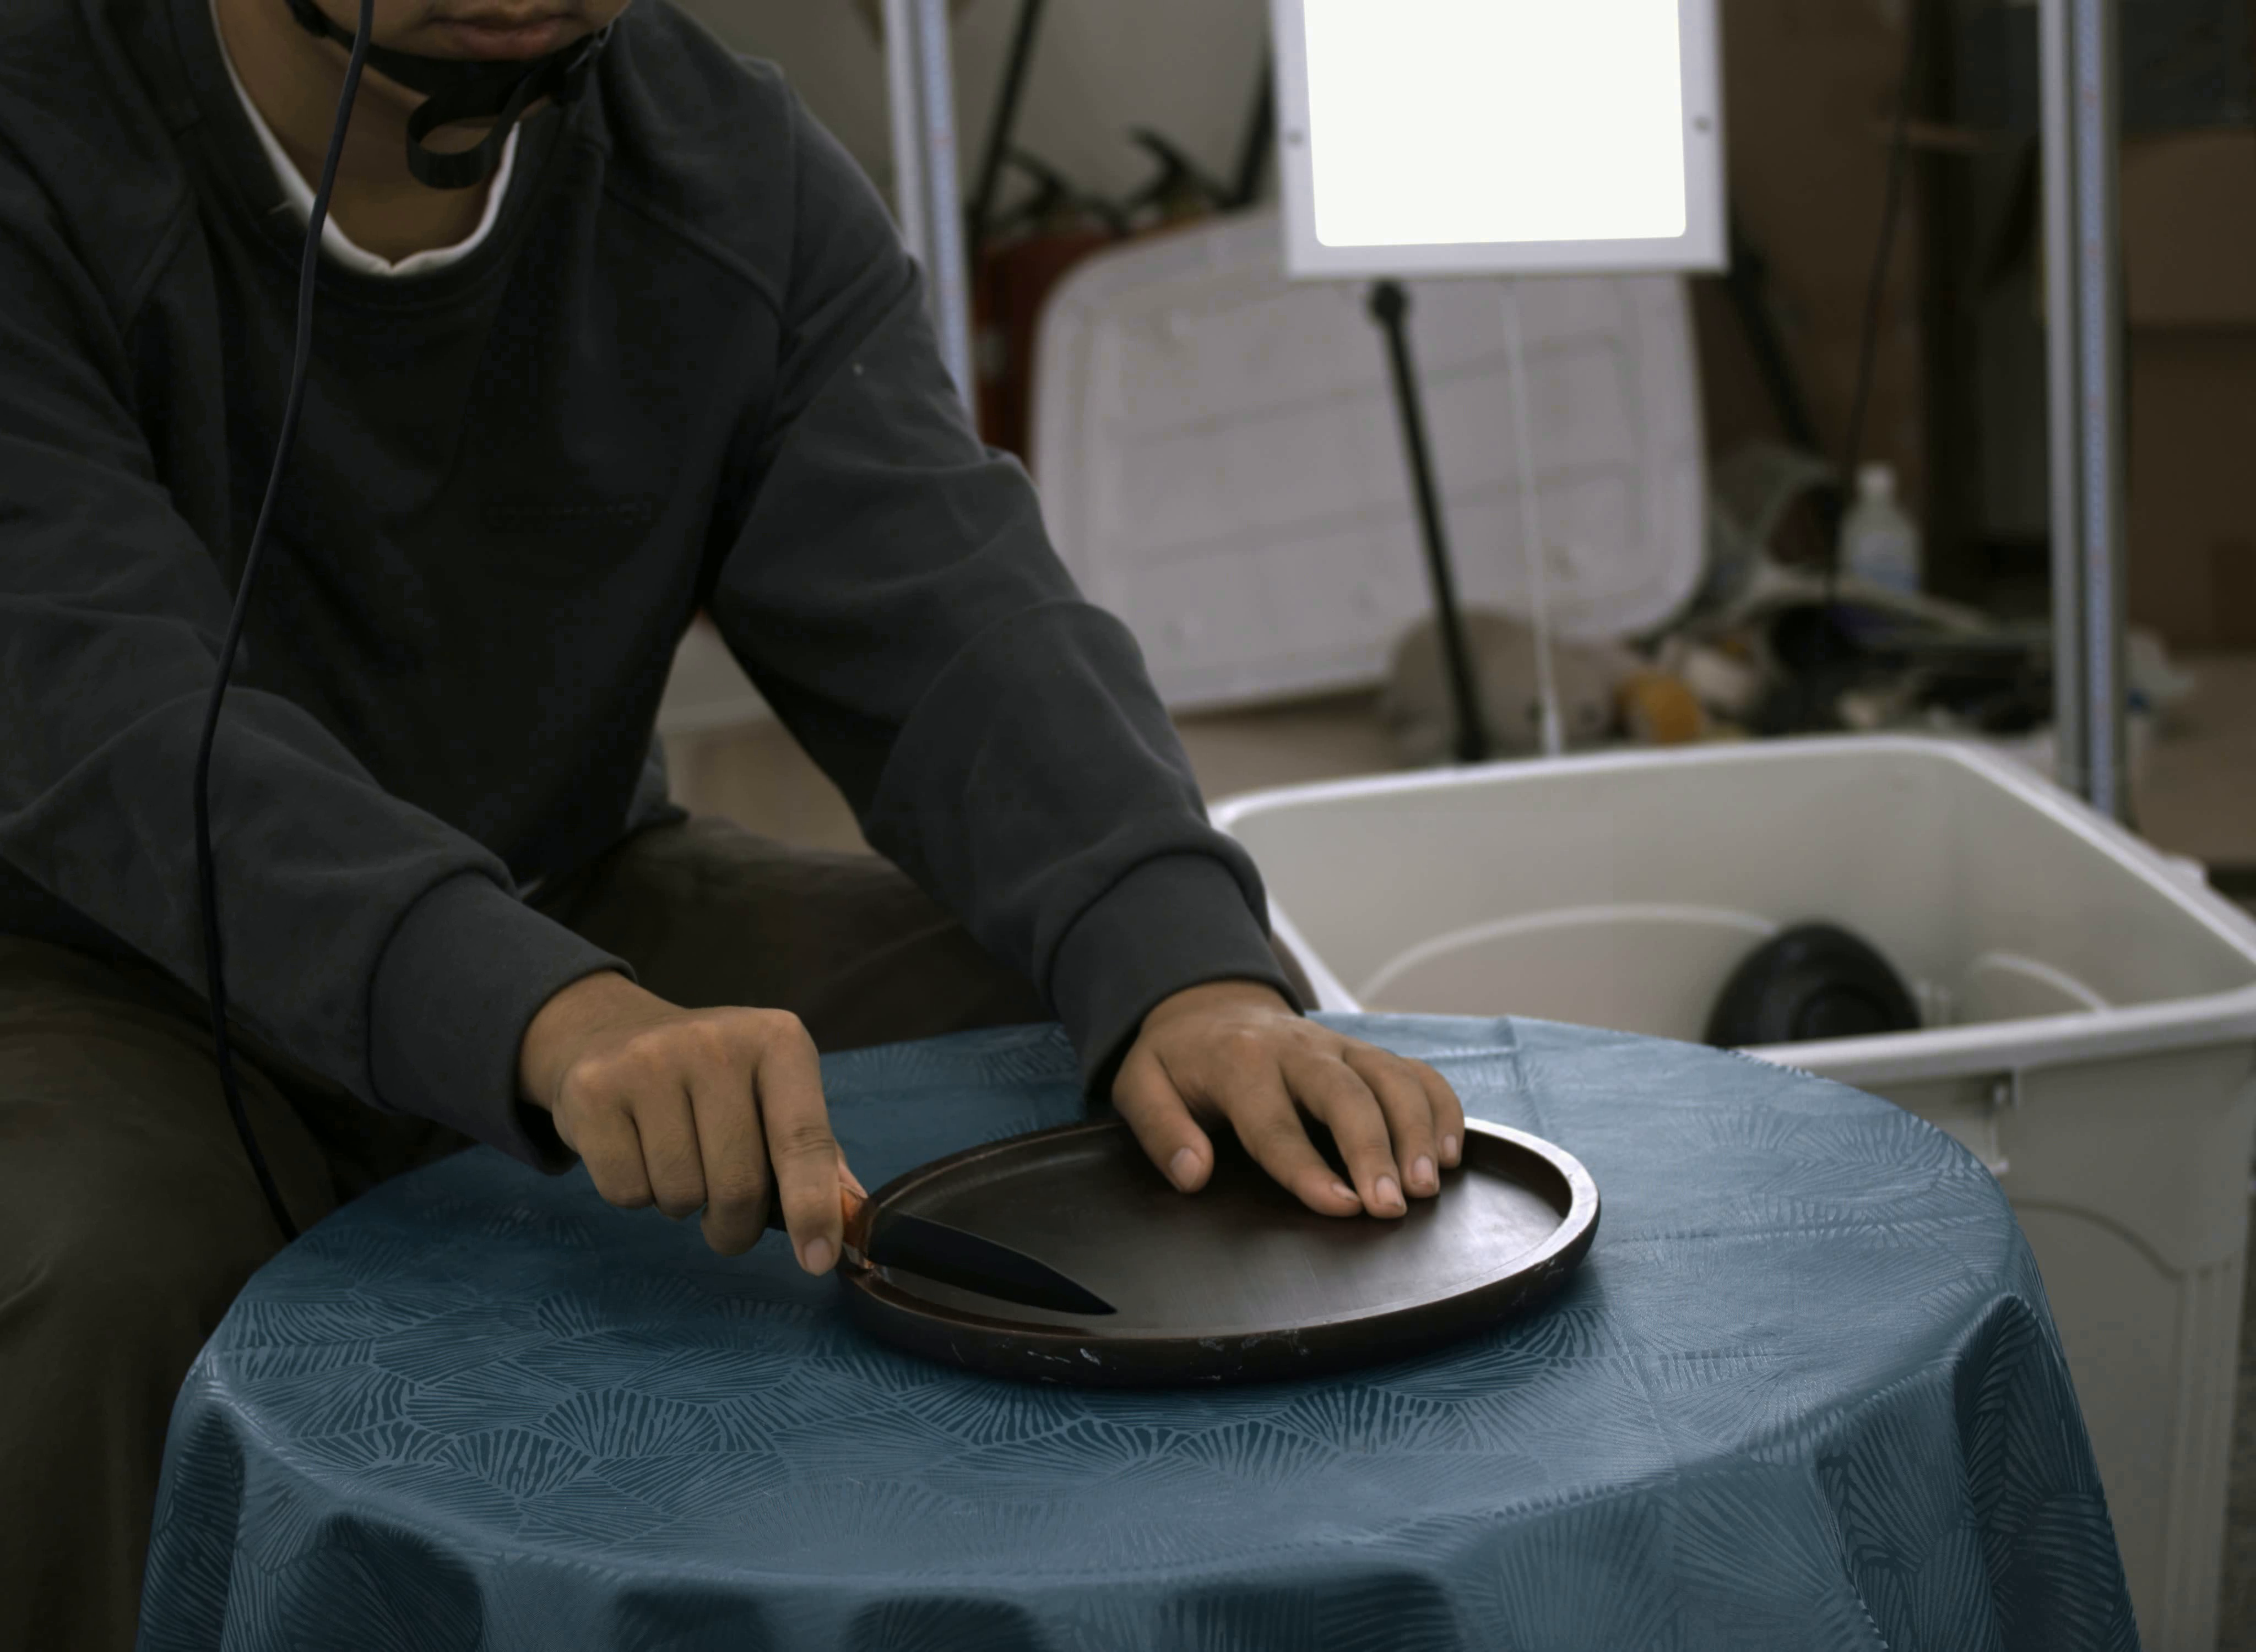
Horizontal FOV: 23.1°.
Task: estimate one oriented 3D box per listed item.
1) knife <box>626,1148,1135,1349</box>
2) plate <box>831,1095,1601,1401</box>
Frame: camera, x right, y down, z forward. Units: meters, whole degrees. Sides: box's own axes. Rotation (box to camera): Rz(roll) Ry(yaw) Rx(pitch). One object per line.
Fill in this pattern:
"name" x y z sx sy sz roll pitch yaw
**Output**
"knife" -0.081 0.134 1.764 0.230 0.026 0.017 13 24 42
"plate" 0.029 0.136 1.801 0.254 0.029 0.254 -7 13 0
